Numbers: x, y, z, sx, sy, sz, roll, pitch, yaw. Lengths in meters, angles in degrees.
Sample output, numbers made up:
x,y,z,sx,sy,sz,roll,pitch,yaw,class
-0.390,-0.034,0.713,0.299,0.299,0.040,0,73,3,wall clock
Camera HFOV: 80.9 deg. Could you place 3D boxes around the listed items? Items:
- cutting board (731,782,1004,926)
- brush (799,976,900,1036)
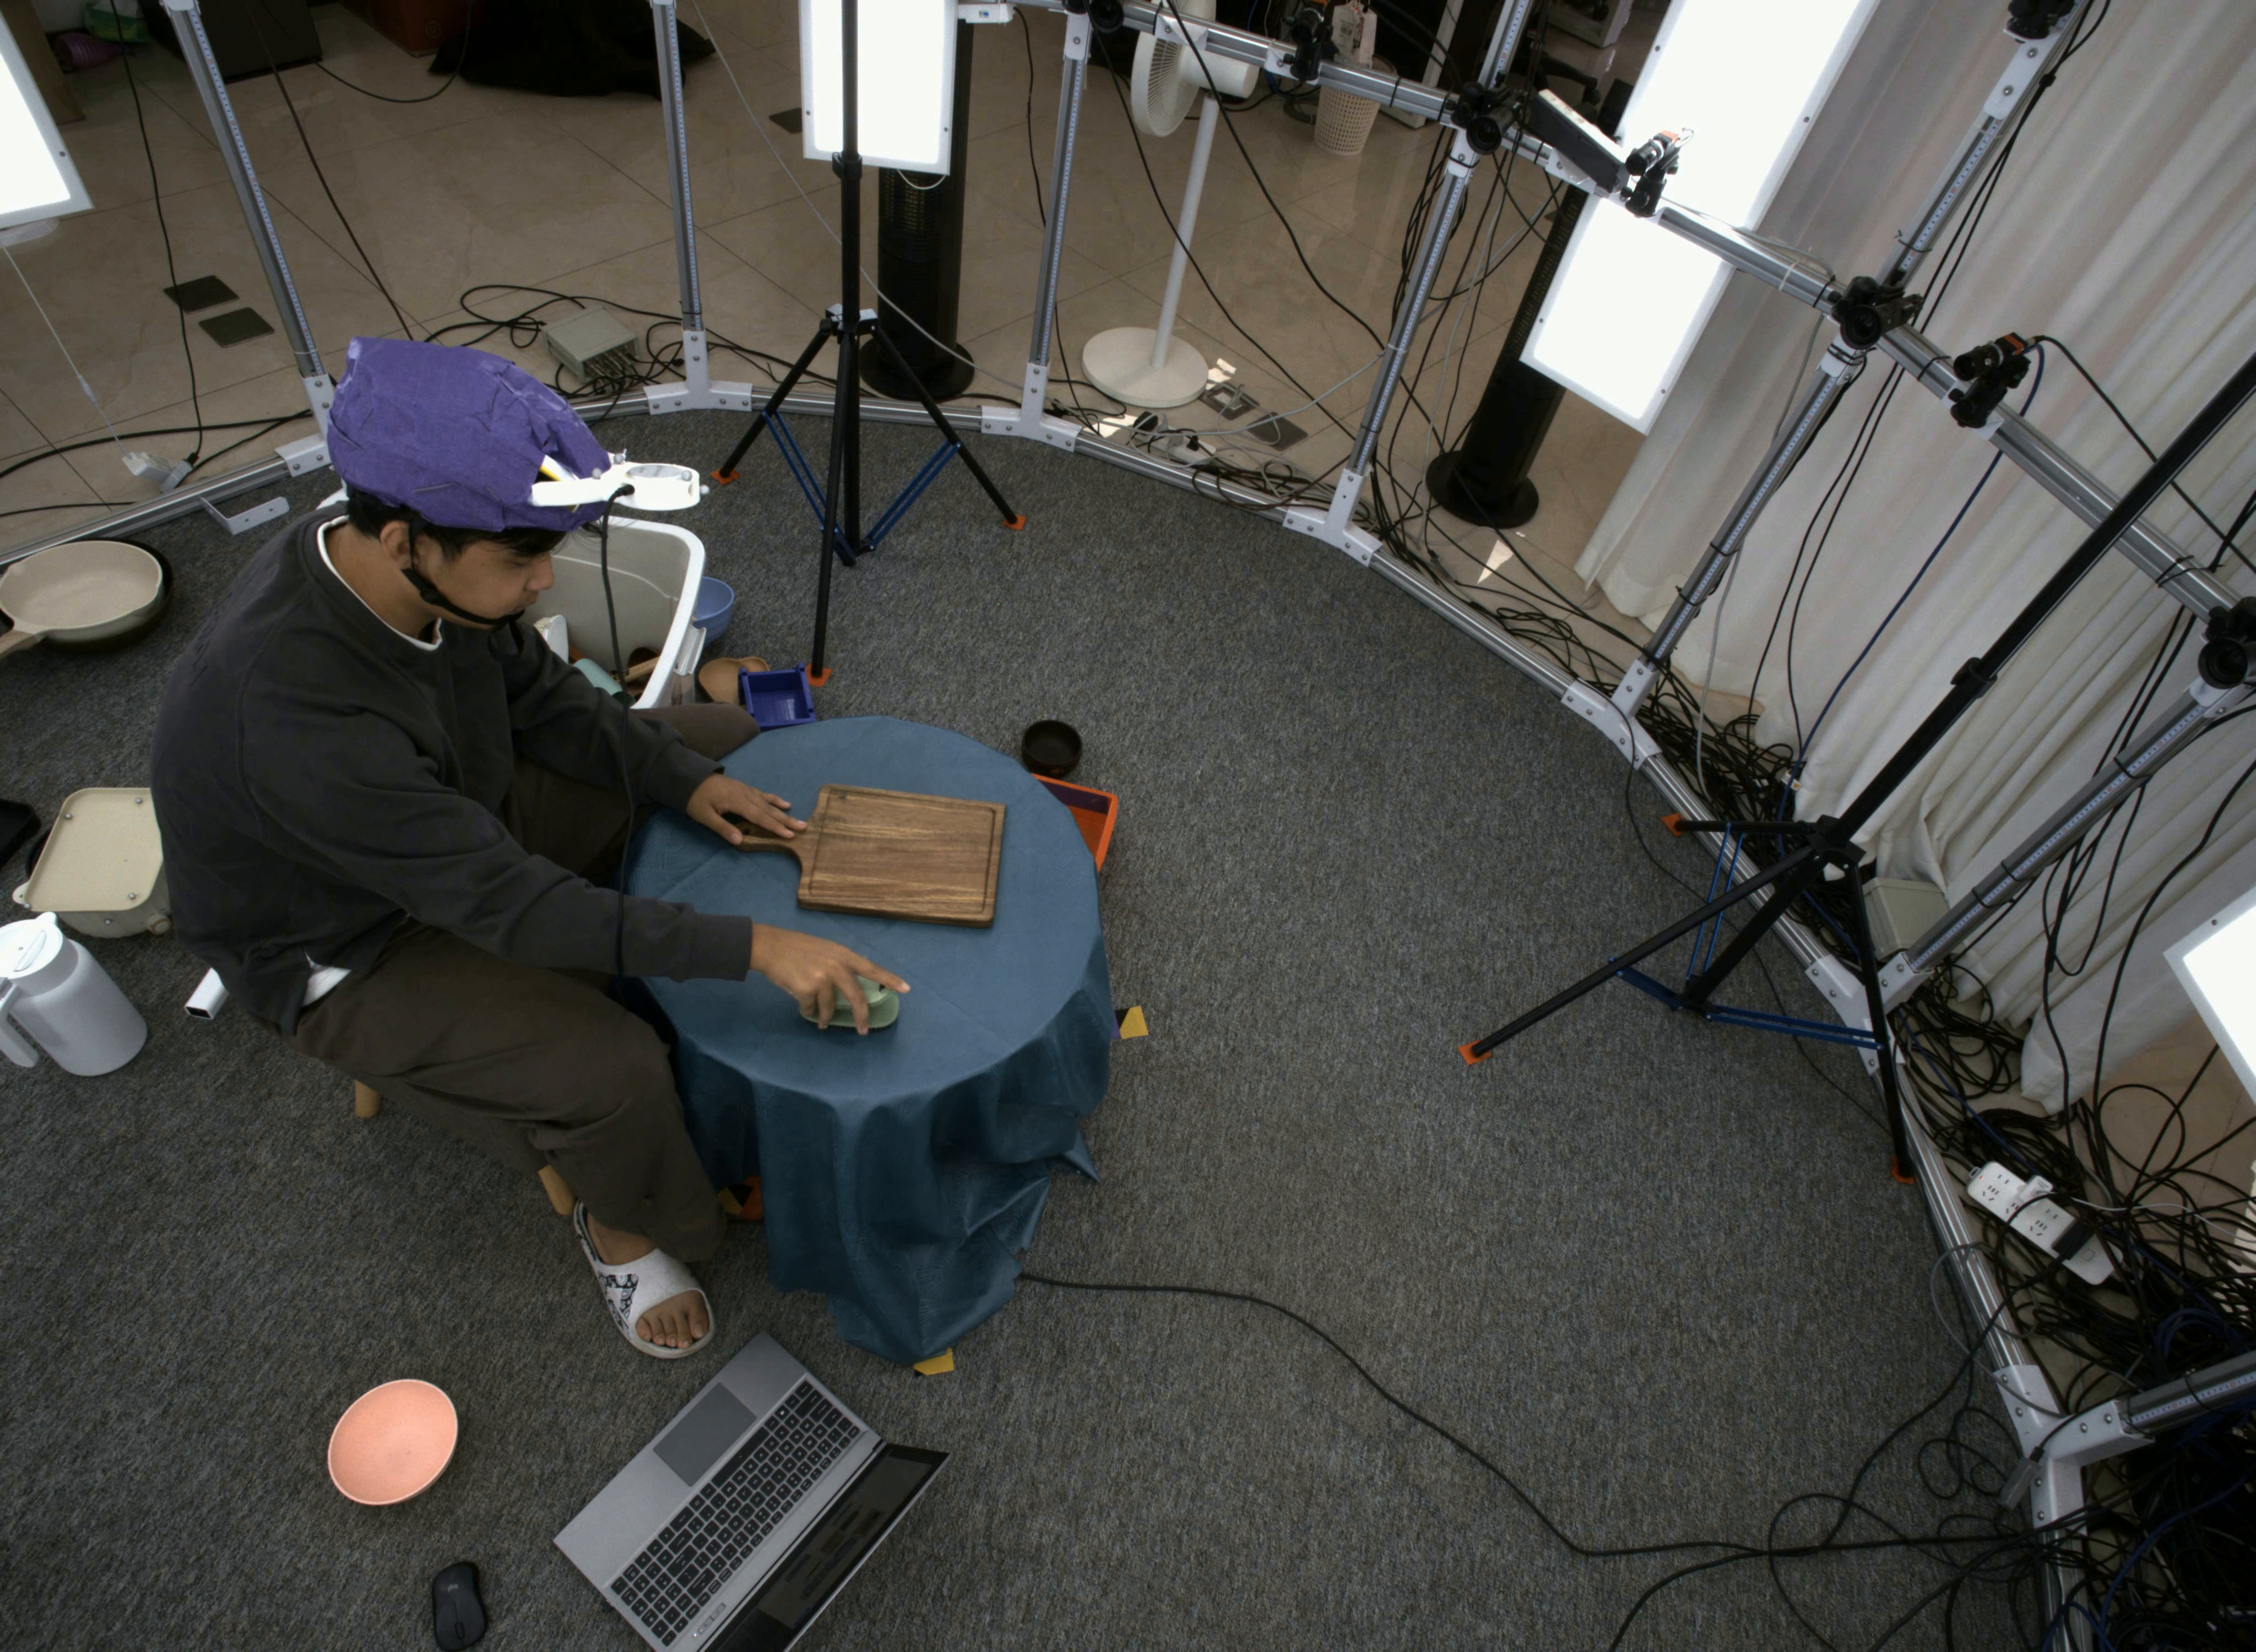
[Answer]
x,y,z,sx,sy,sz,roll,pitch,yaw,class
-0.343,0.028,1.706,0.351,0.023,0.197,7,52,-9,cutting board
-0.331,0.211,1.552,0.121,0.078,0.058,-4,52,2,brush
